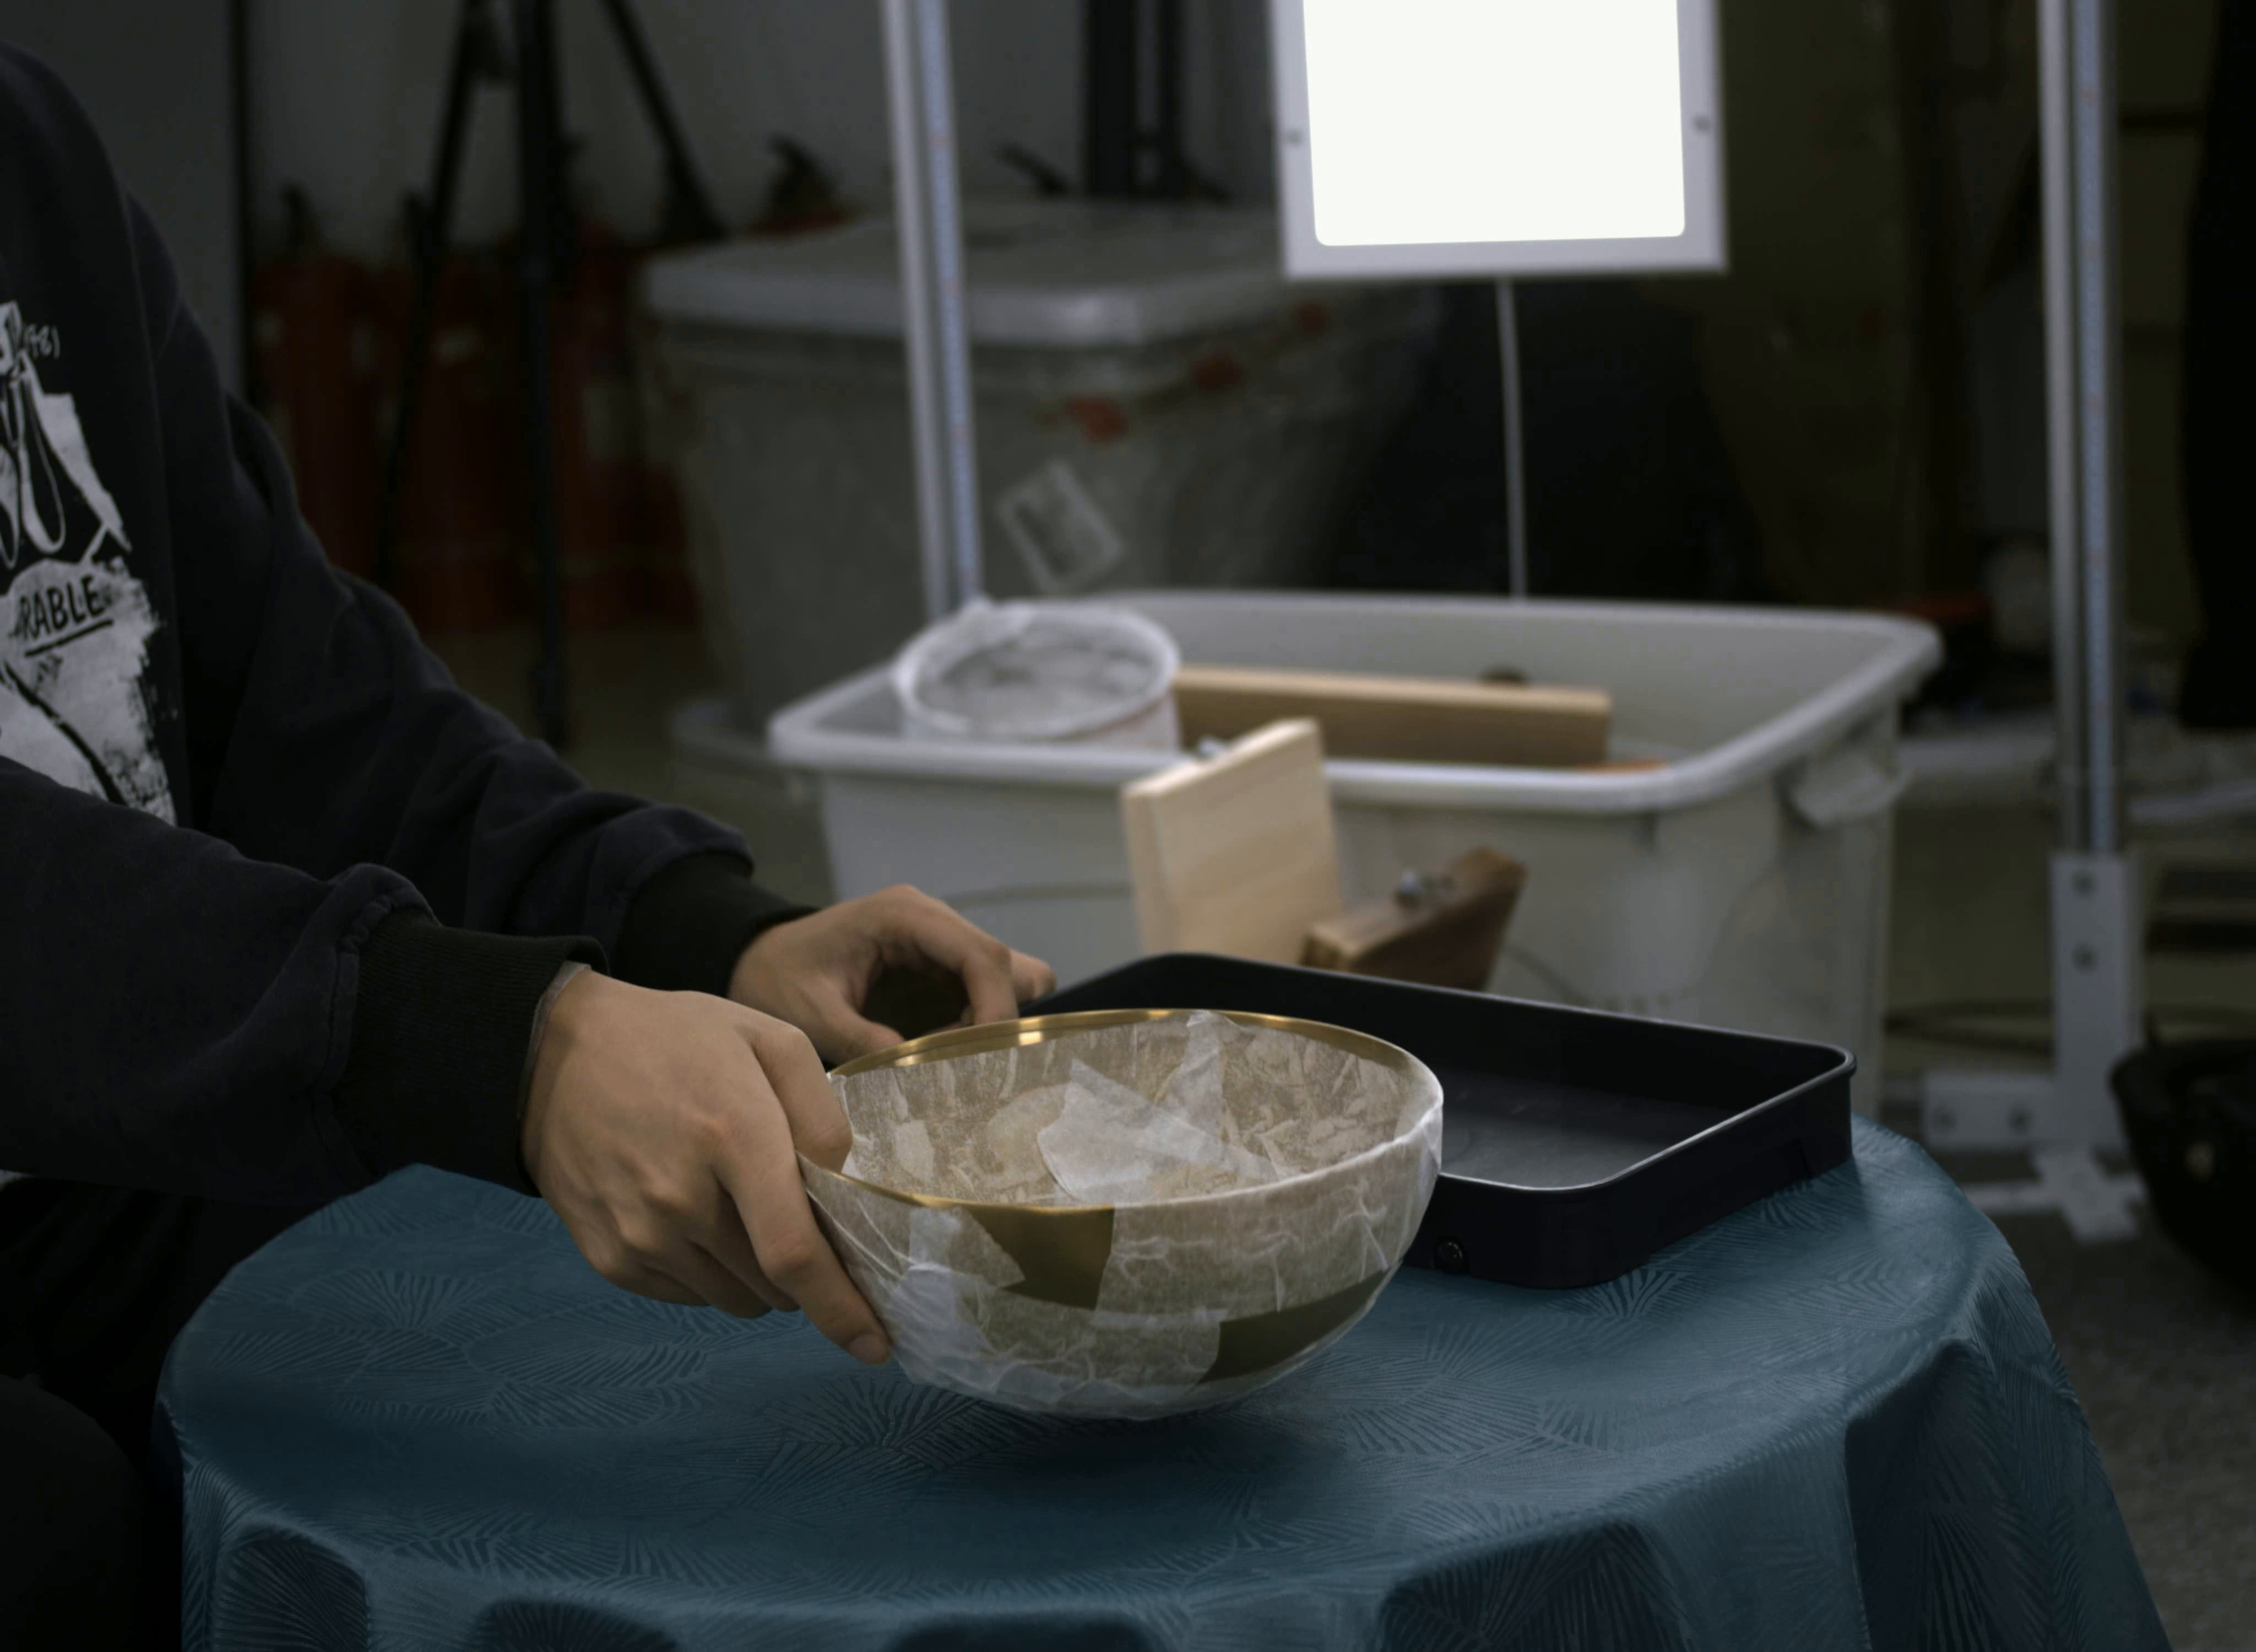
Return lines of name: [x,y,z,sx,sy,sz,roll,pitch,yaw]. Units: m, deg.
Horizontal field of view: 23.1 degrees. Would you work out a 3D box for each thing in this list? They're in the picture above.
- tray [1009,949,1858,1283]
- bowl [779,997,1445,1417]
tray: [0.081,0.097,1.909,0.325,0.037,0.179,6,19,42]
bowl: [-0.005,0.122,1.673,0.214,0.095,0.214,-4,15,0]
